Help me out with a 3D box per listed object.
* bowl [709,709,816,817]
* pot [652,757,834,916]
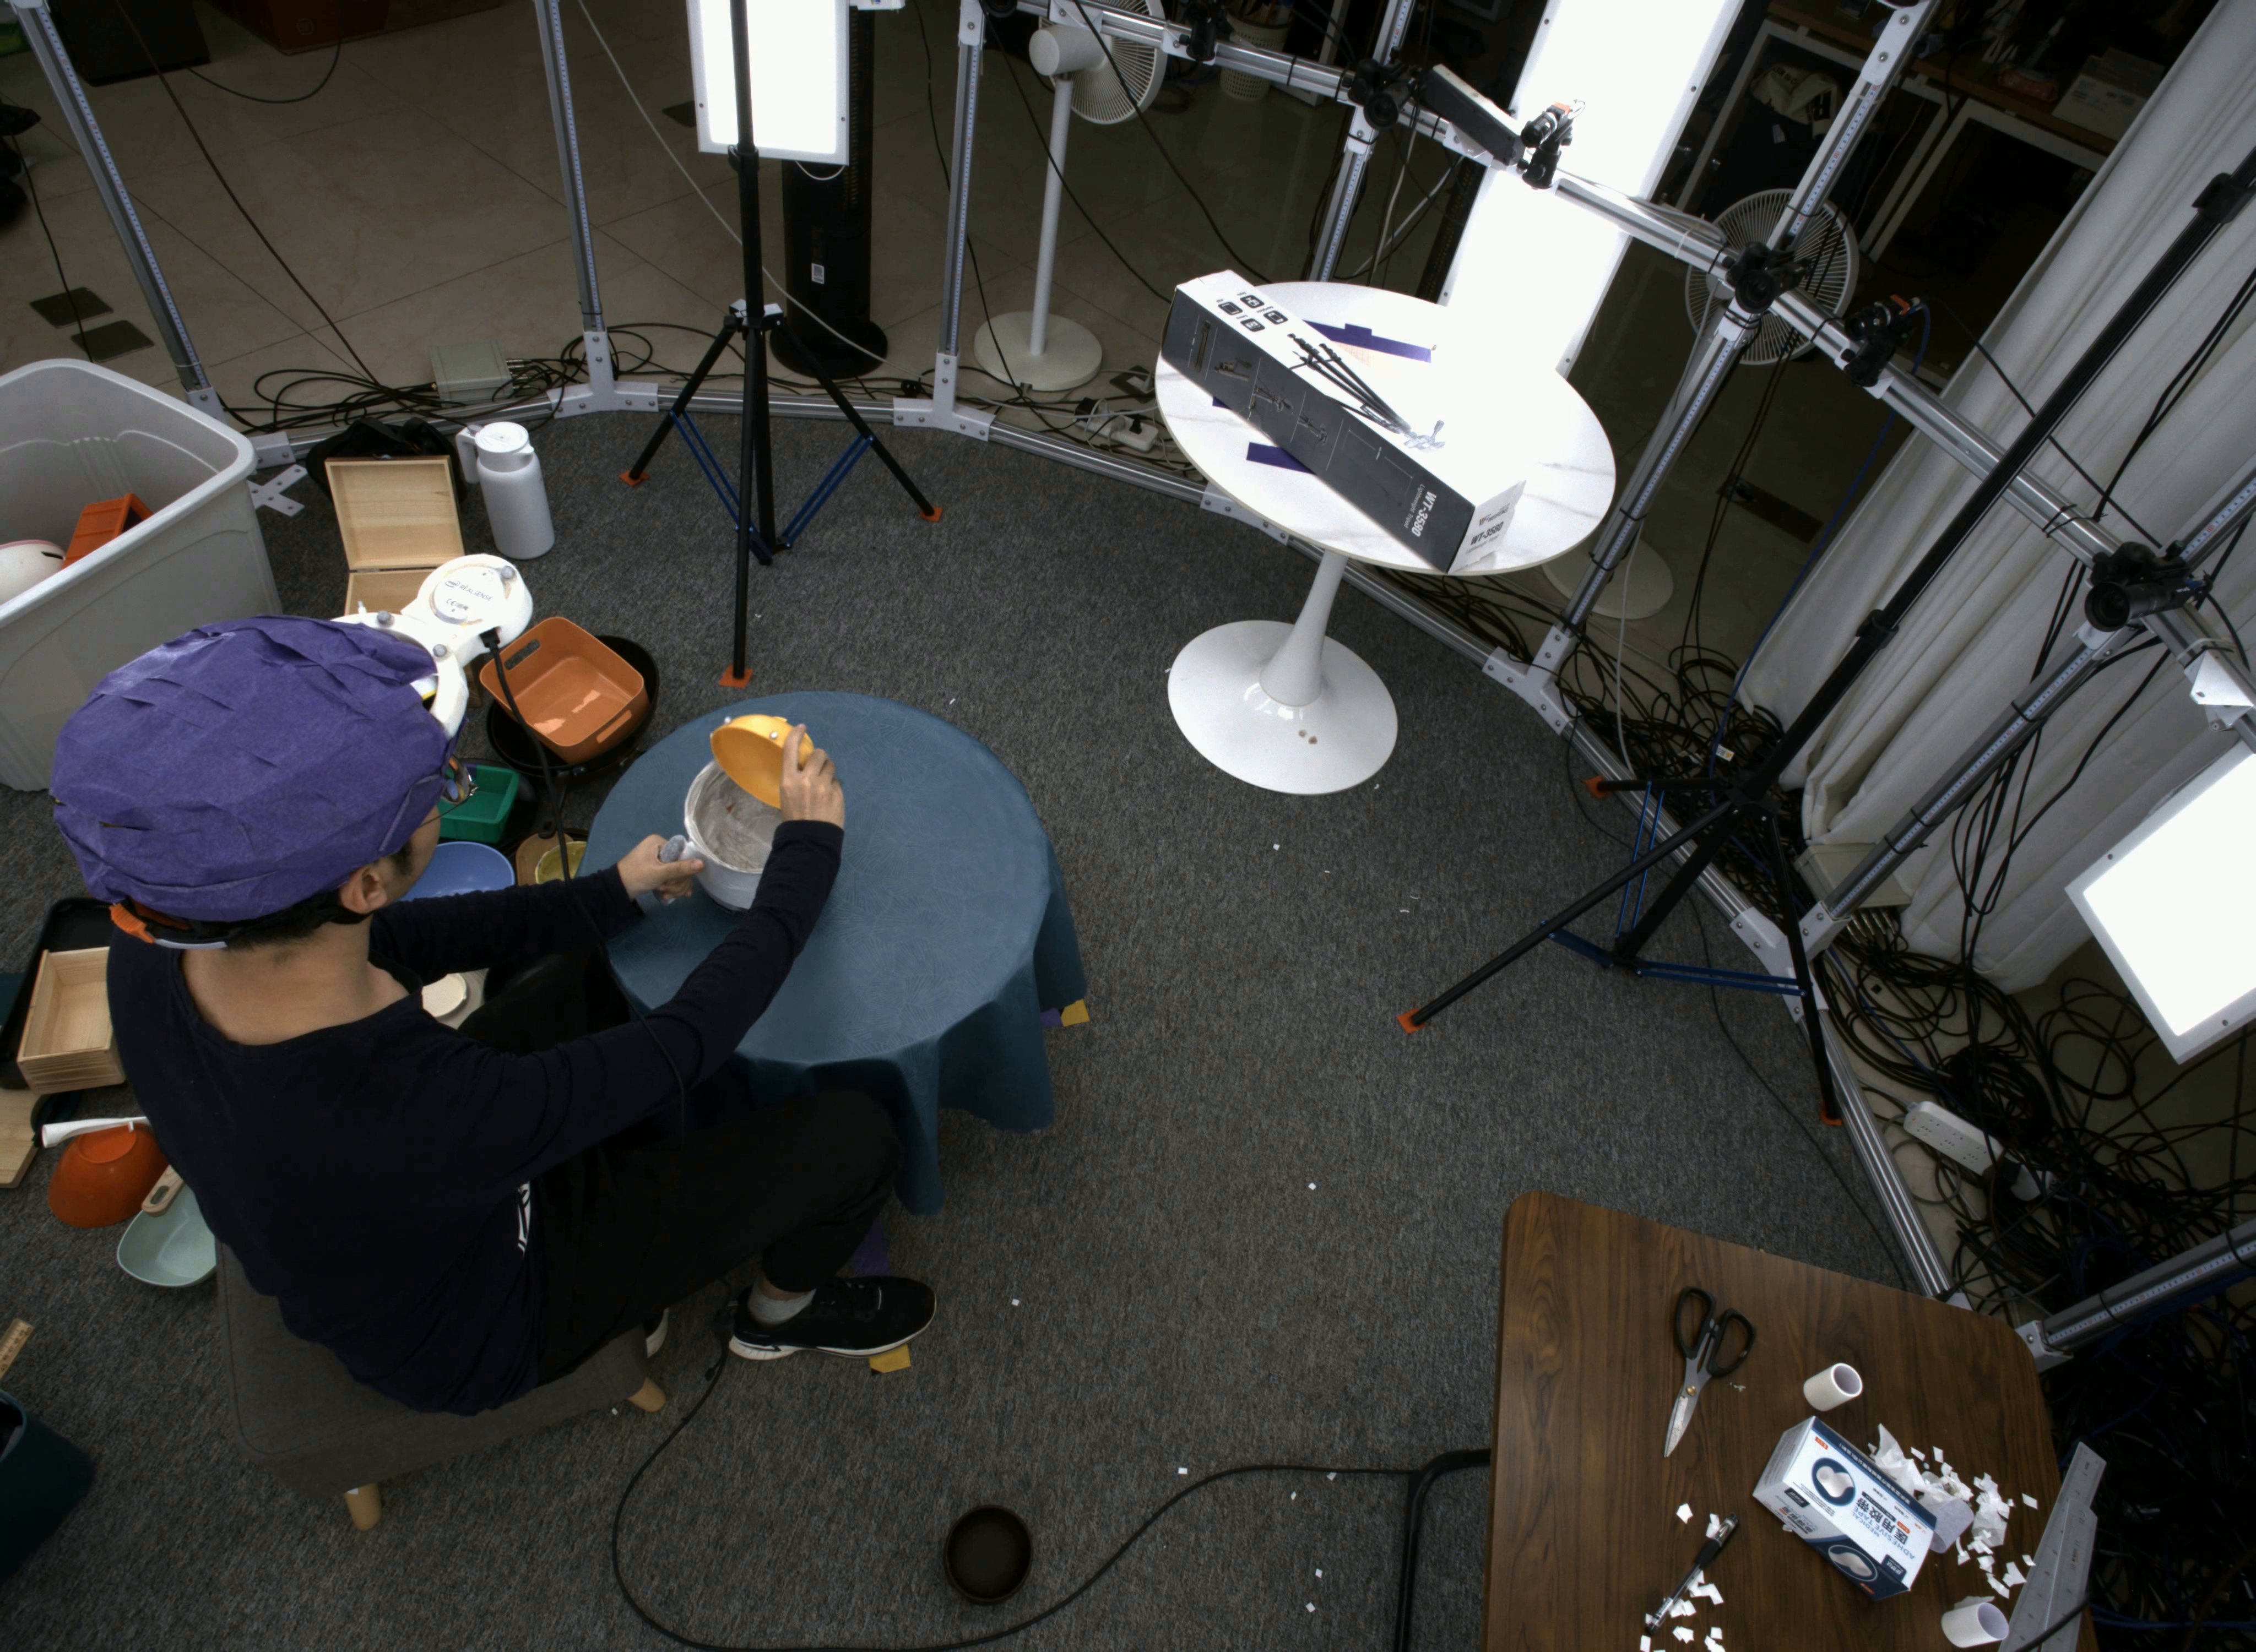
[{"bbox_3d":[-0.420,-0.086,1.530,0.143,0.148,0.060,27,52,9],"label":"bowl"},{"bbox_3d":[-0.479,0.021,1.601,0.234,0.138,0.176,-27,71,-24],"label":"pot"}]
